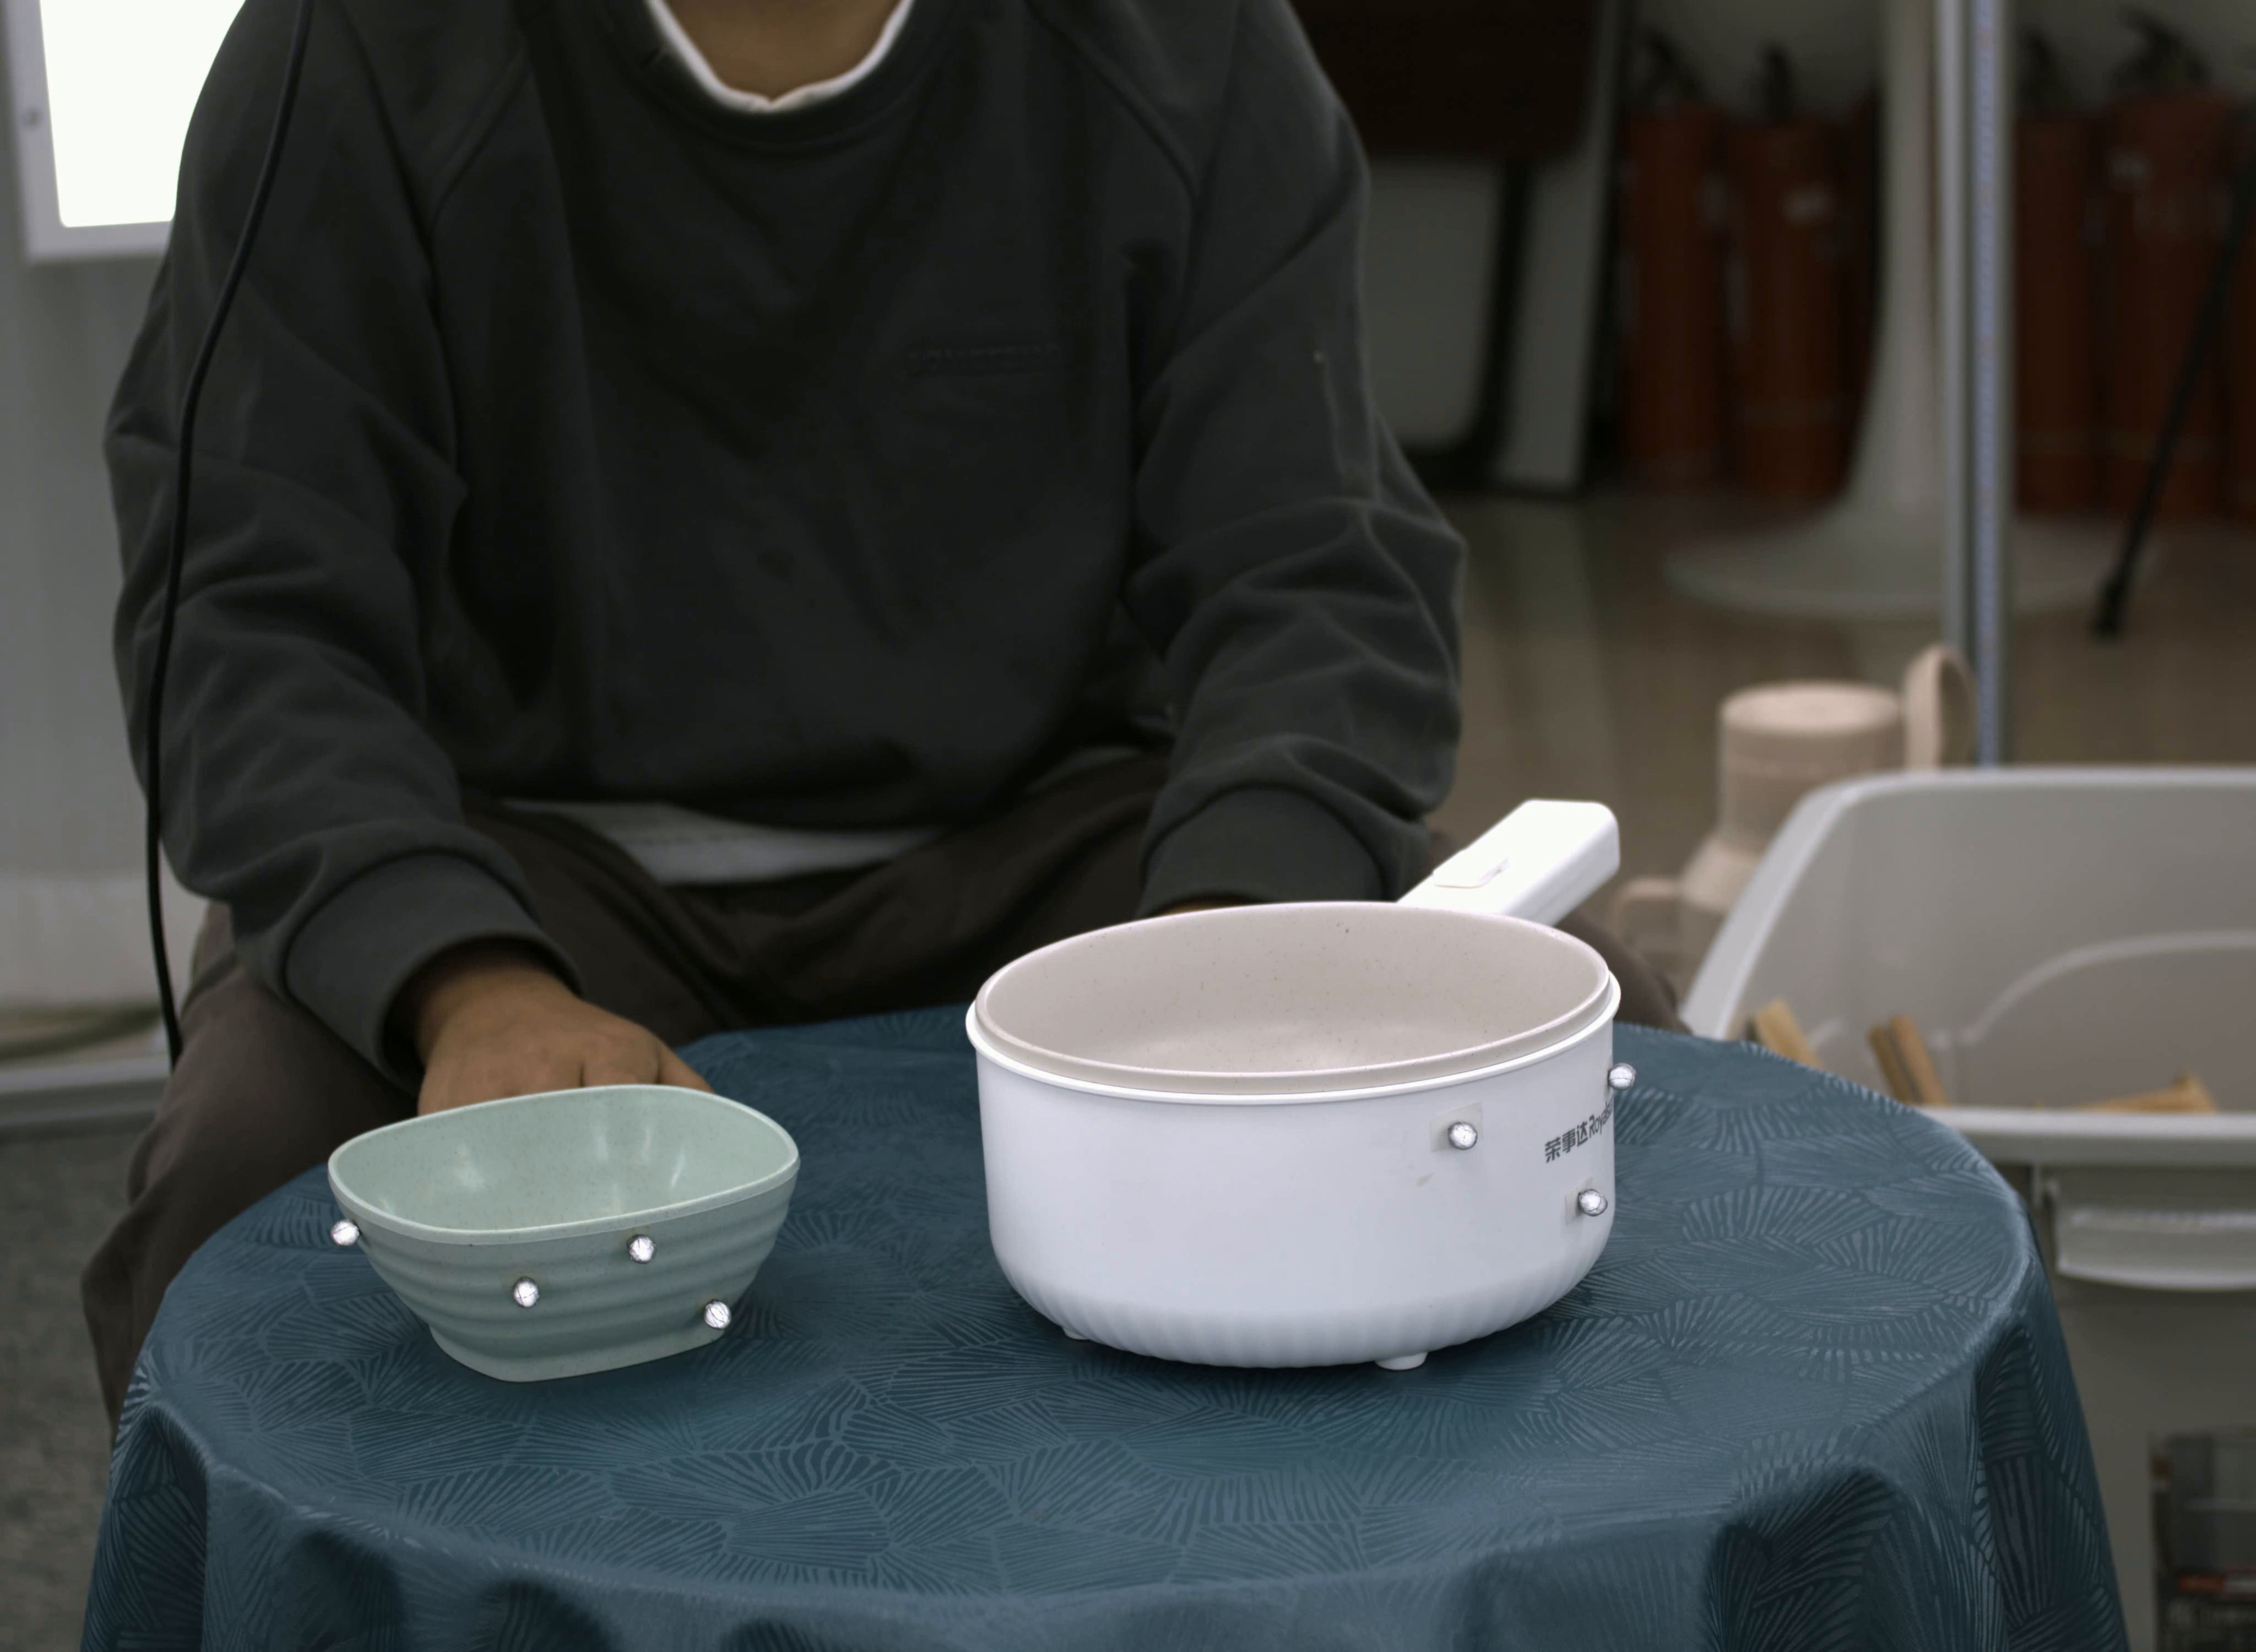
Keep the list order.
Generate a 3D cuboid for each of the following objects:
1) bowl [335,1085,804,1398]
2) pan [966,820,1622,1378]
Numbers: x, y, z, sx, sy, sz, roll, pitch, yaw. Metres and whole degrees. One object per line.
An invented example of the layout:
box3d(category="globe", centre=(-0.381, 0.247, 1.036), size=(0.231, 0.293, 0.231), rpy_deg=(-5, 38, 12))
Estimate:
box3d(category="bowl", centre=(-0.170, 0.131, 1.667), size=(0.149, 0.059, 0.152), rpy_deg=(-4, 15, 0))
box3d(category="pan", centre=(0.083, 0.083, 1.717), size=(0.201, 0.103, 0.350), rpy_deg=(0, 13, 25))
